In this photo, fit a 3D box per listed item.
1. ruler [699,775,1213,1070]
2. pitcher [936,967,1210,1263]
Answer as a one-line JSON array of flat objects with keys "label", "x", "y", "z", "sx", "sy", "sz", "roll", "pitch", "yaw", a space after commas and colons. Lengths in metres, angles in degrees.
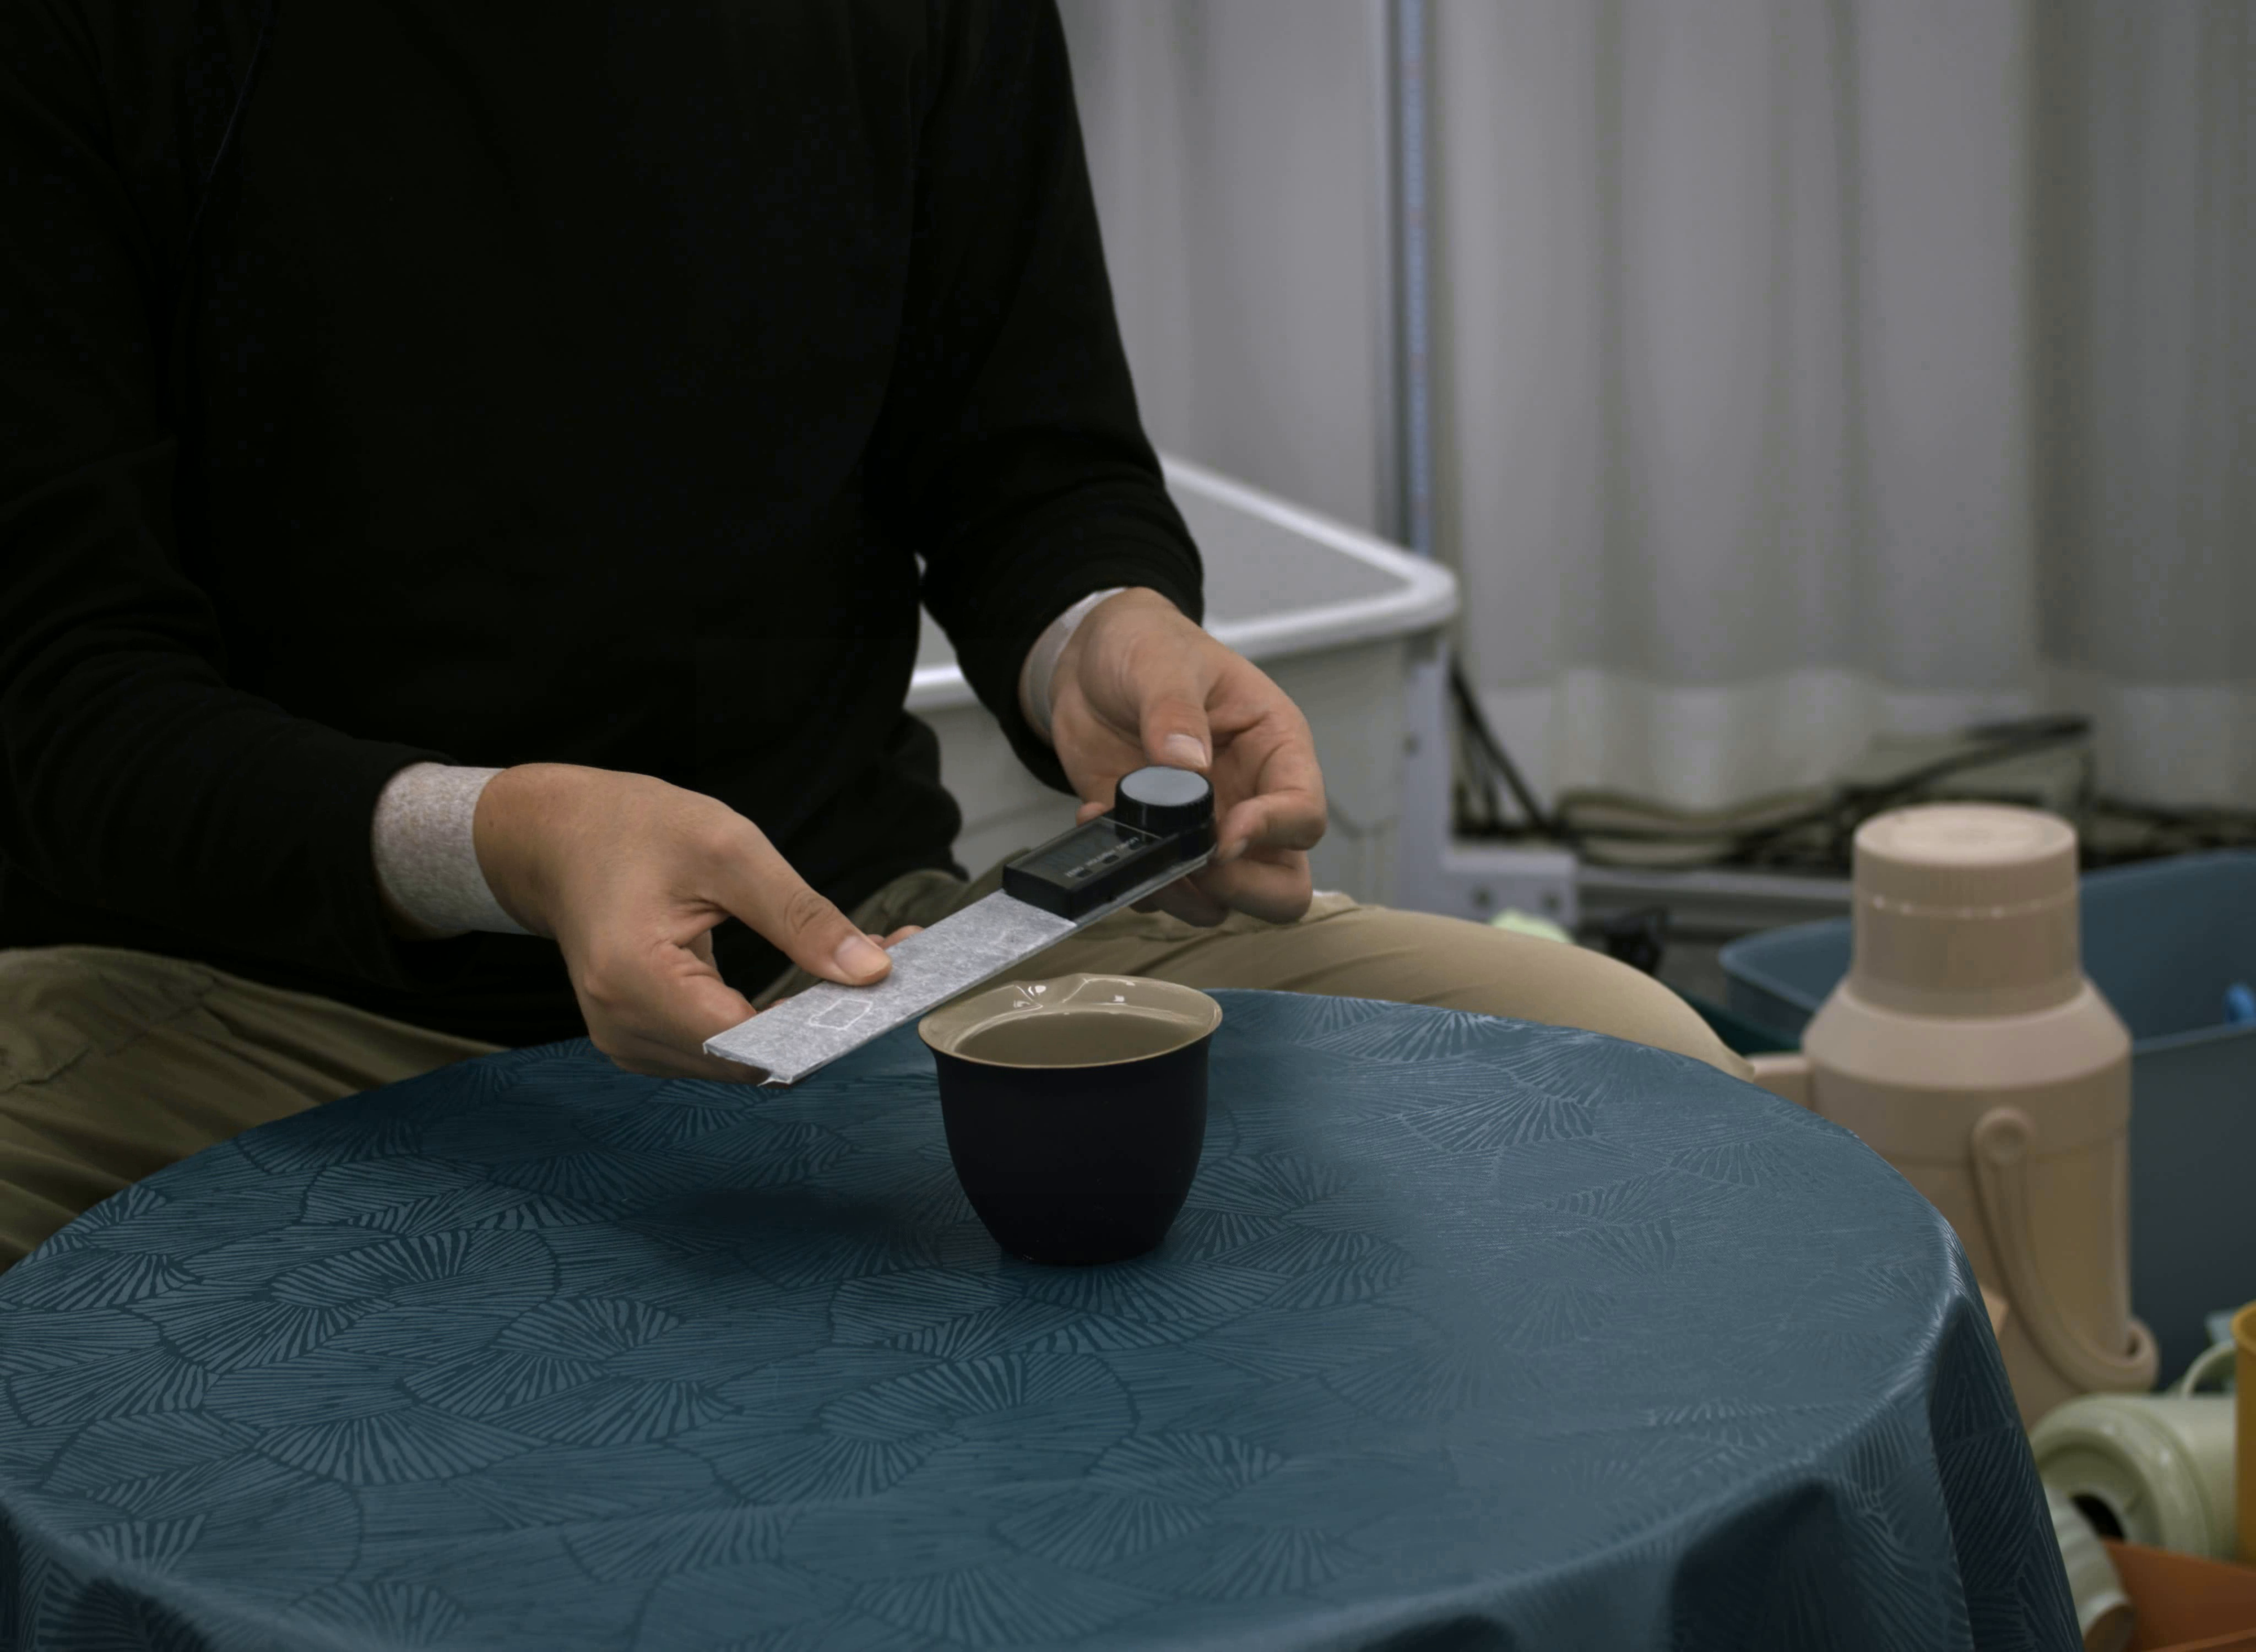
[{"label": "ruler", "x": -0.048, "y": 0.027, "z": 1.702, "sx": 0.038, "sy": 0.024, "sz": 0.218, "roll": 10, "pitch": 24, "yaw": 38}, {"label": "pitcher", "x": -0.016, "y": 0.090, "z": 1.668, "sx": 0.083, "sy": 0.071, "sz": 0.097, "roll": -6, "pitch": 16, "yaw": -8}]
